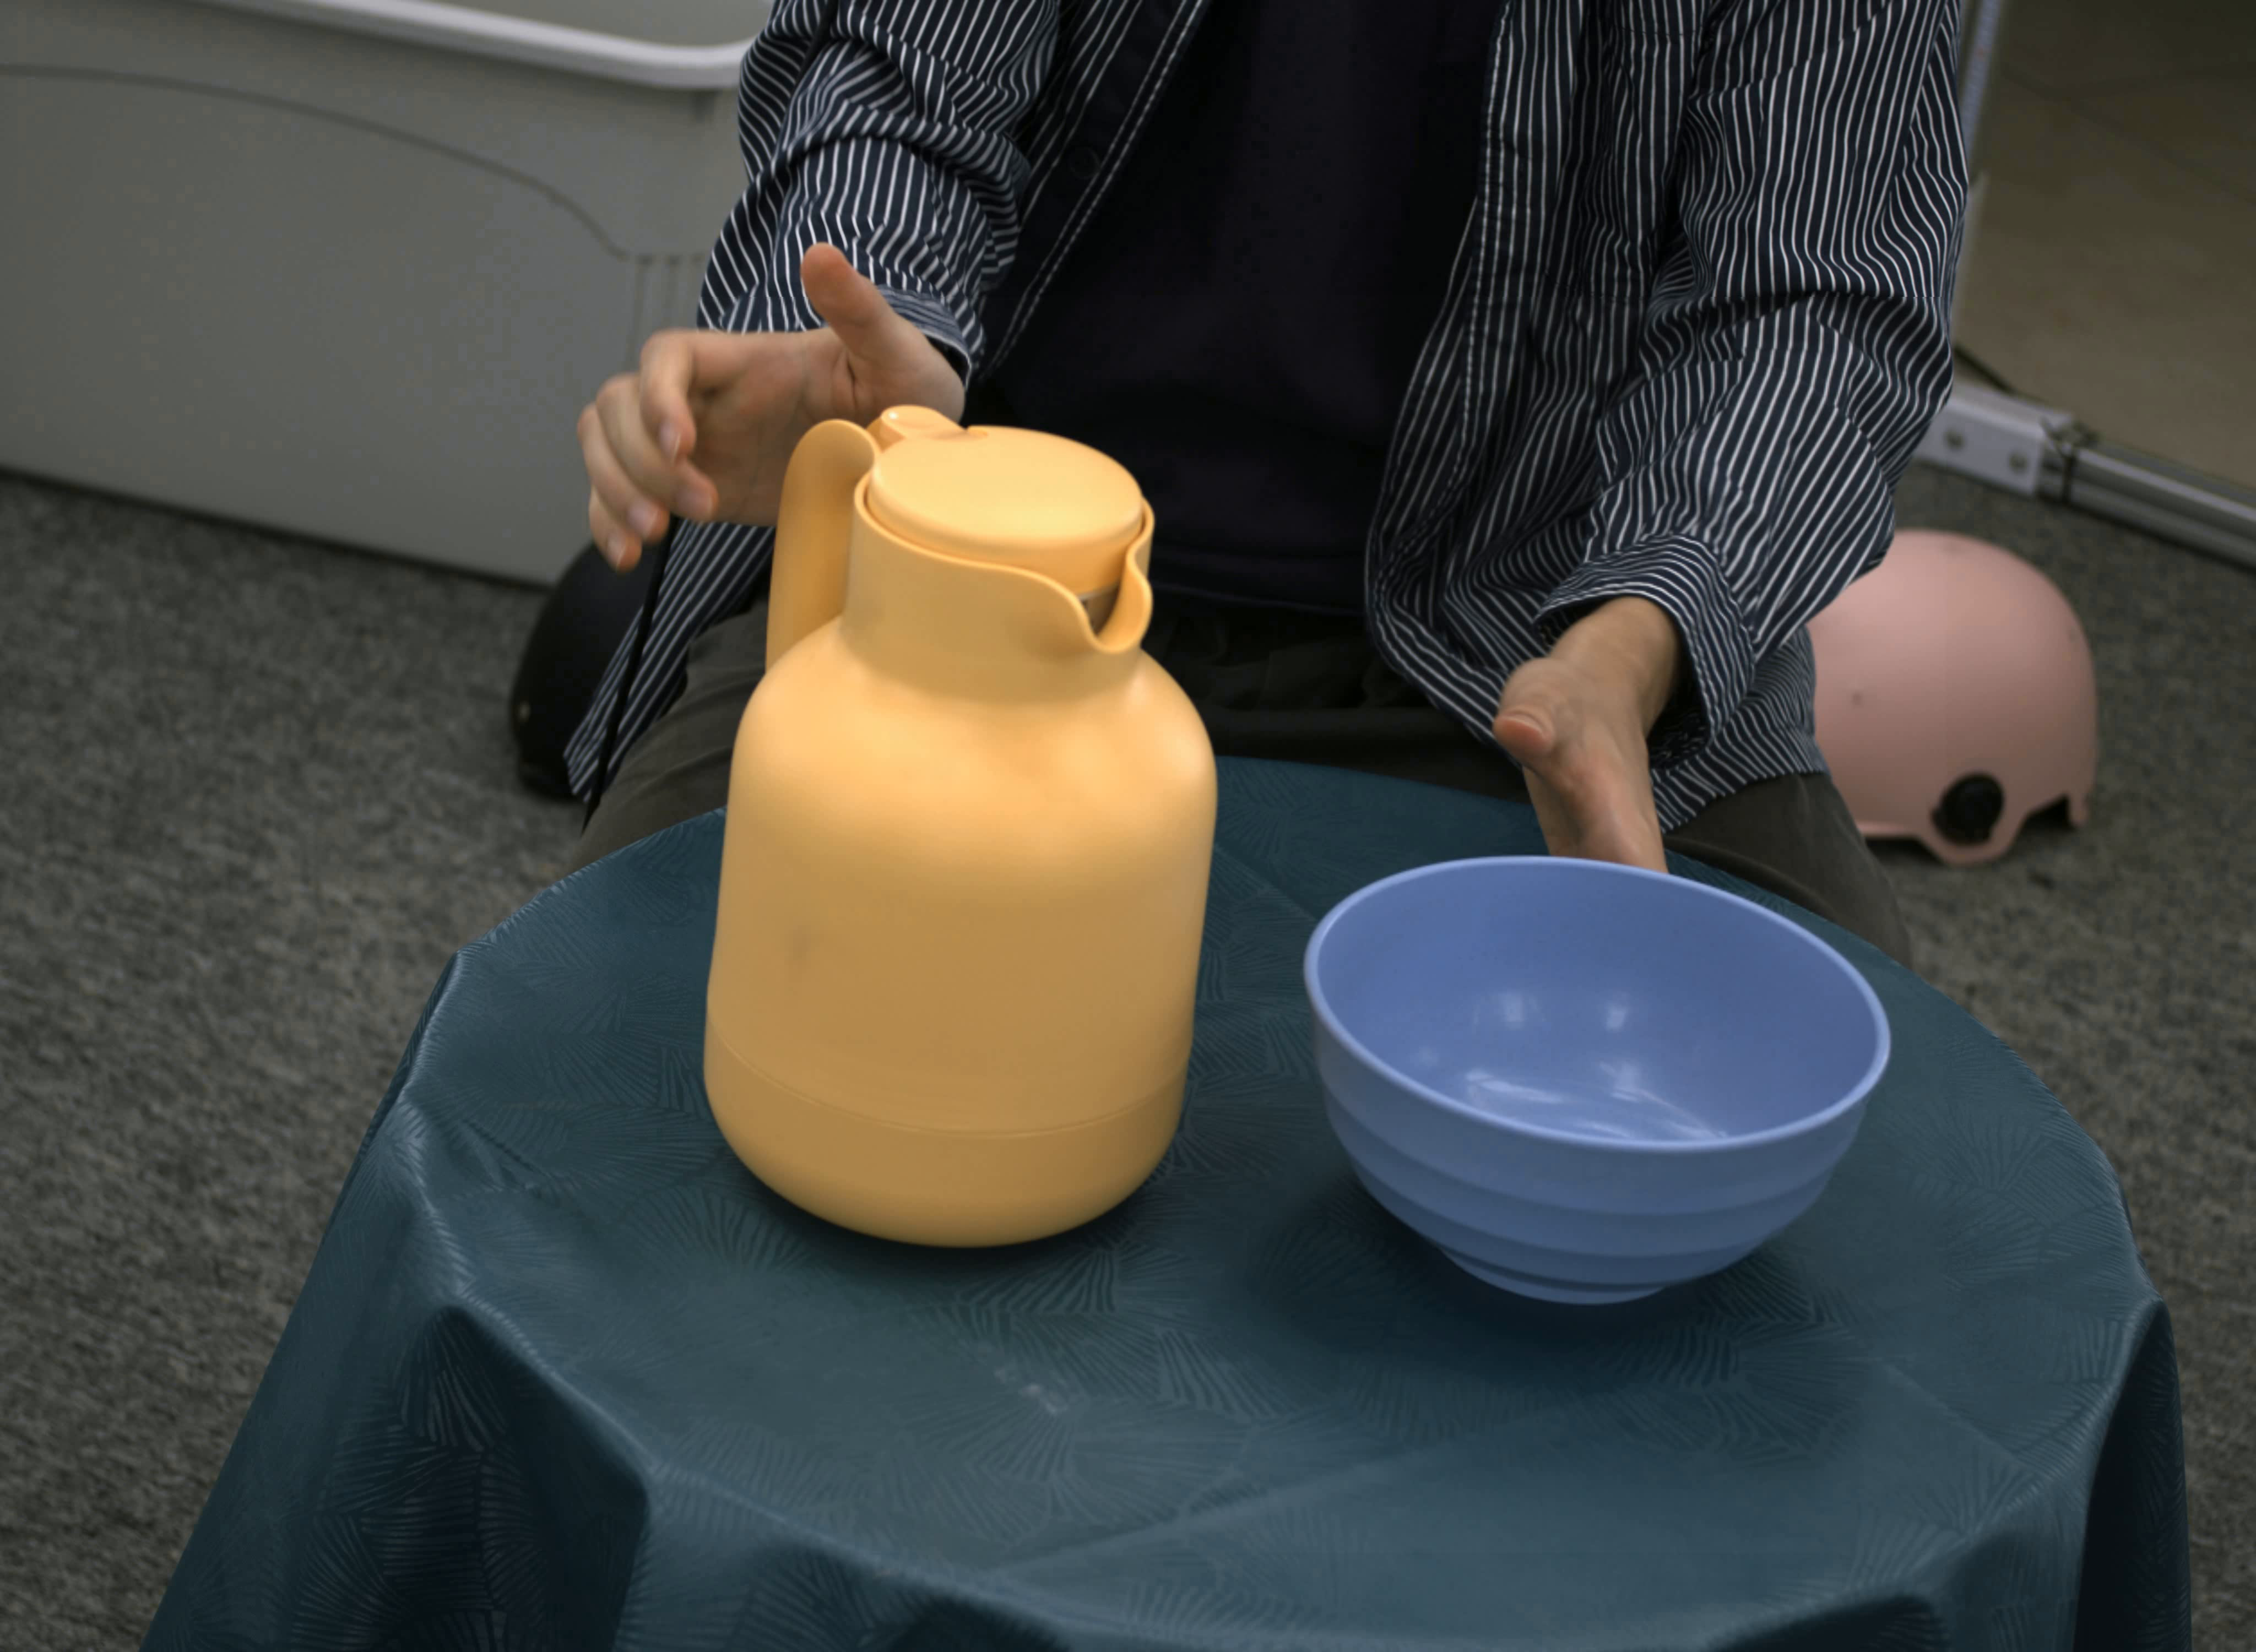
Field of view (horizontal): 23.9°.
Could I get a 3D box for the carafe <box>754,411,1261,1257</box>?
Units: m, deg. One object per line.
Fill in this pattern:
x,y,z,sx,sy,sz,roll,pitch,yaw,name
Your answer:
-0.046,-0.007,1.760,0.162,0.259,0.204,-11,31,-31,carafe

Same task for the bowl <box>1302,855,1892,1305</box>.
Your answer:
0.151,0.097,1.781,0.196,0.095,0.198,5,27,-3,bowl
